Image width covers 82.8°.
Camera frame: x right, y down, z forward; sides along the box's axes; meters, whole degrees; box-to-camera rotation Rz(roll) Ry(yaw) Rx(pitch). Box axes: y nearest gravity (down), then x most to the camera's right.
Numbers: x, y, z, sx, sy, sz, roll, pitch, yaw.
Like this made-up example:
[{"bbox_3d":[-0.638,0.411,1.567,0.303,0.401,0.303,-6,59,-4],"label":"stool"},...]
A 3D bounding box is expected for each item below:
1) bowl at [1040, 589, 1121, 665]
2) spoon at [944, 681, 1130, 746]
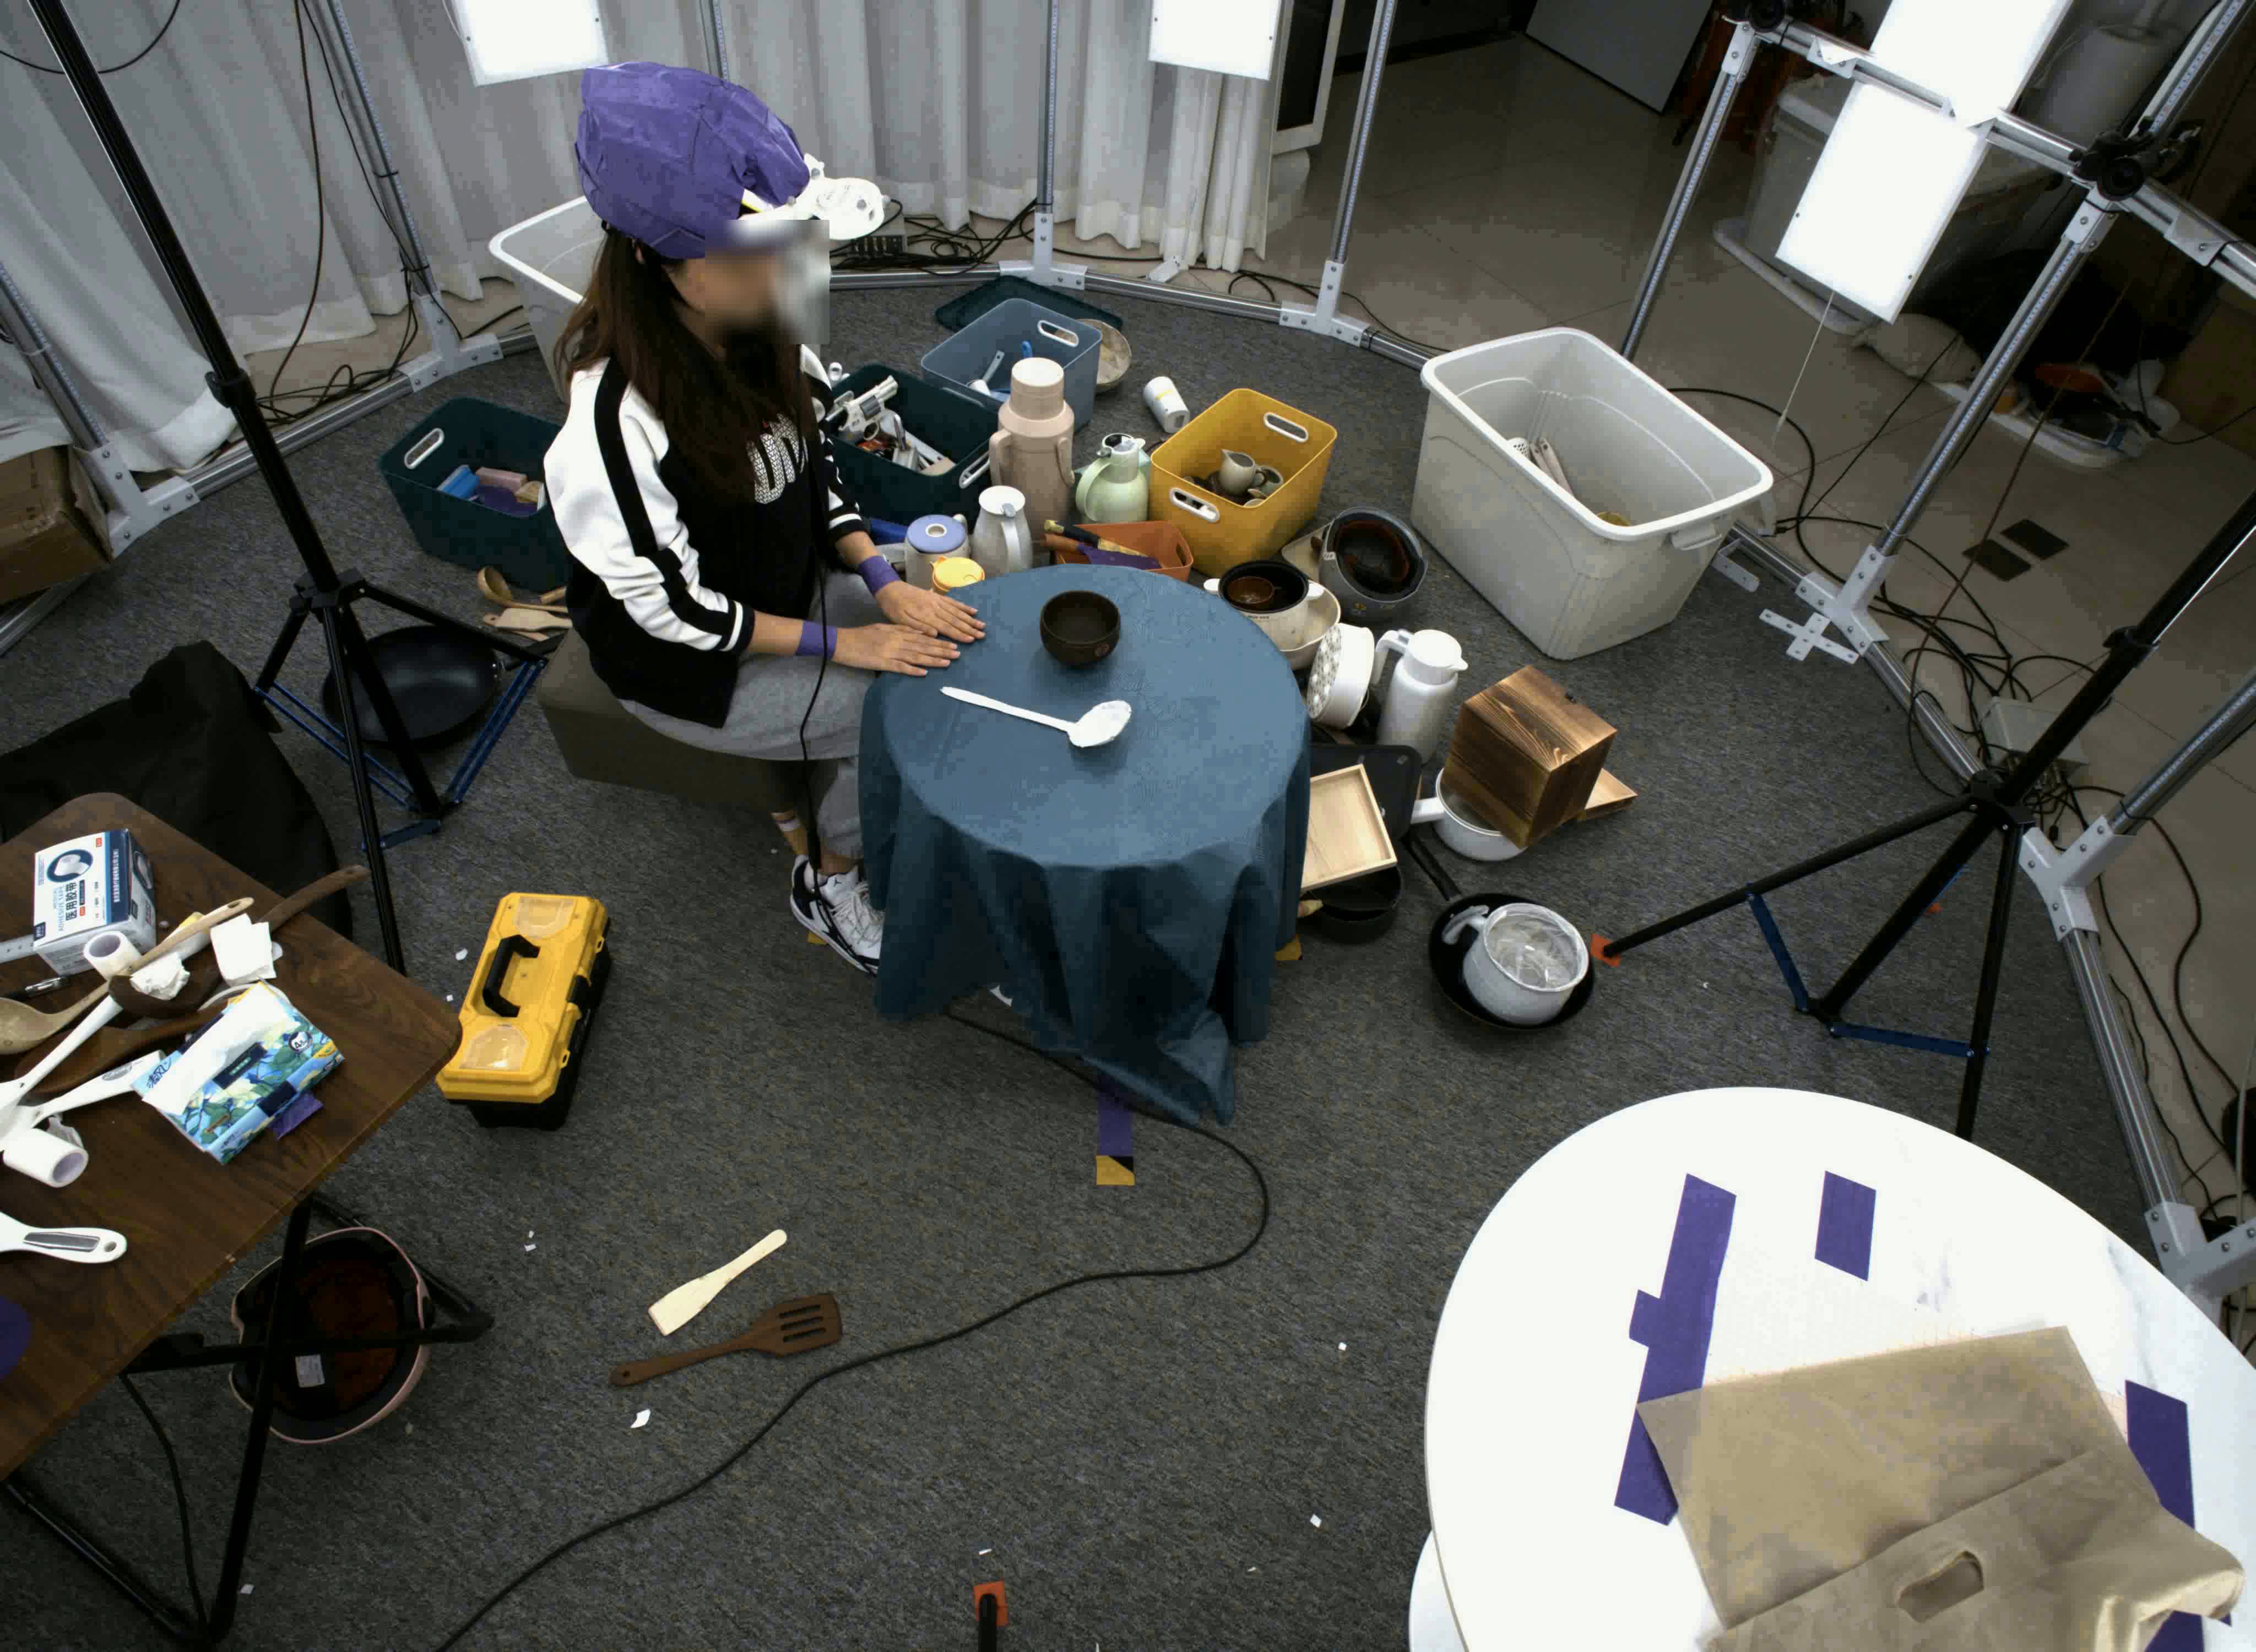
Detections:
[{"bbox_3d":[-0.070,-0.279,1.860,0.118,0.068,0.121,2,49,-3],"label":"bowl"},{"bbox_3d":[-0.129,-0.176,1.777,0.279,0.058,0.102,20,47,13],"label":"spoon"}]
